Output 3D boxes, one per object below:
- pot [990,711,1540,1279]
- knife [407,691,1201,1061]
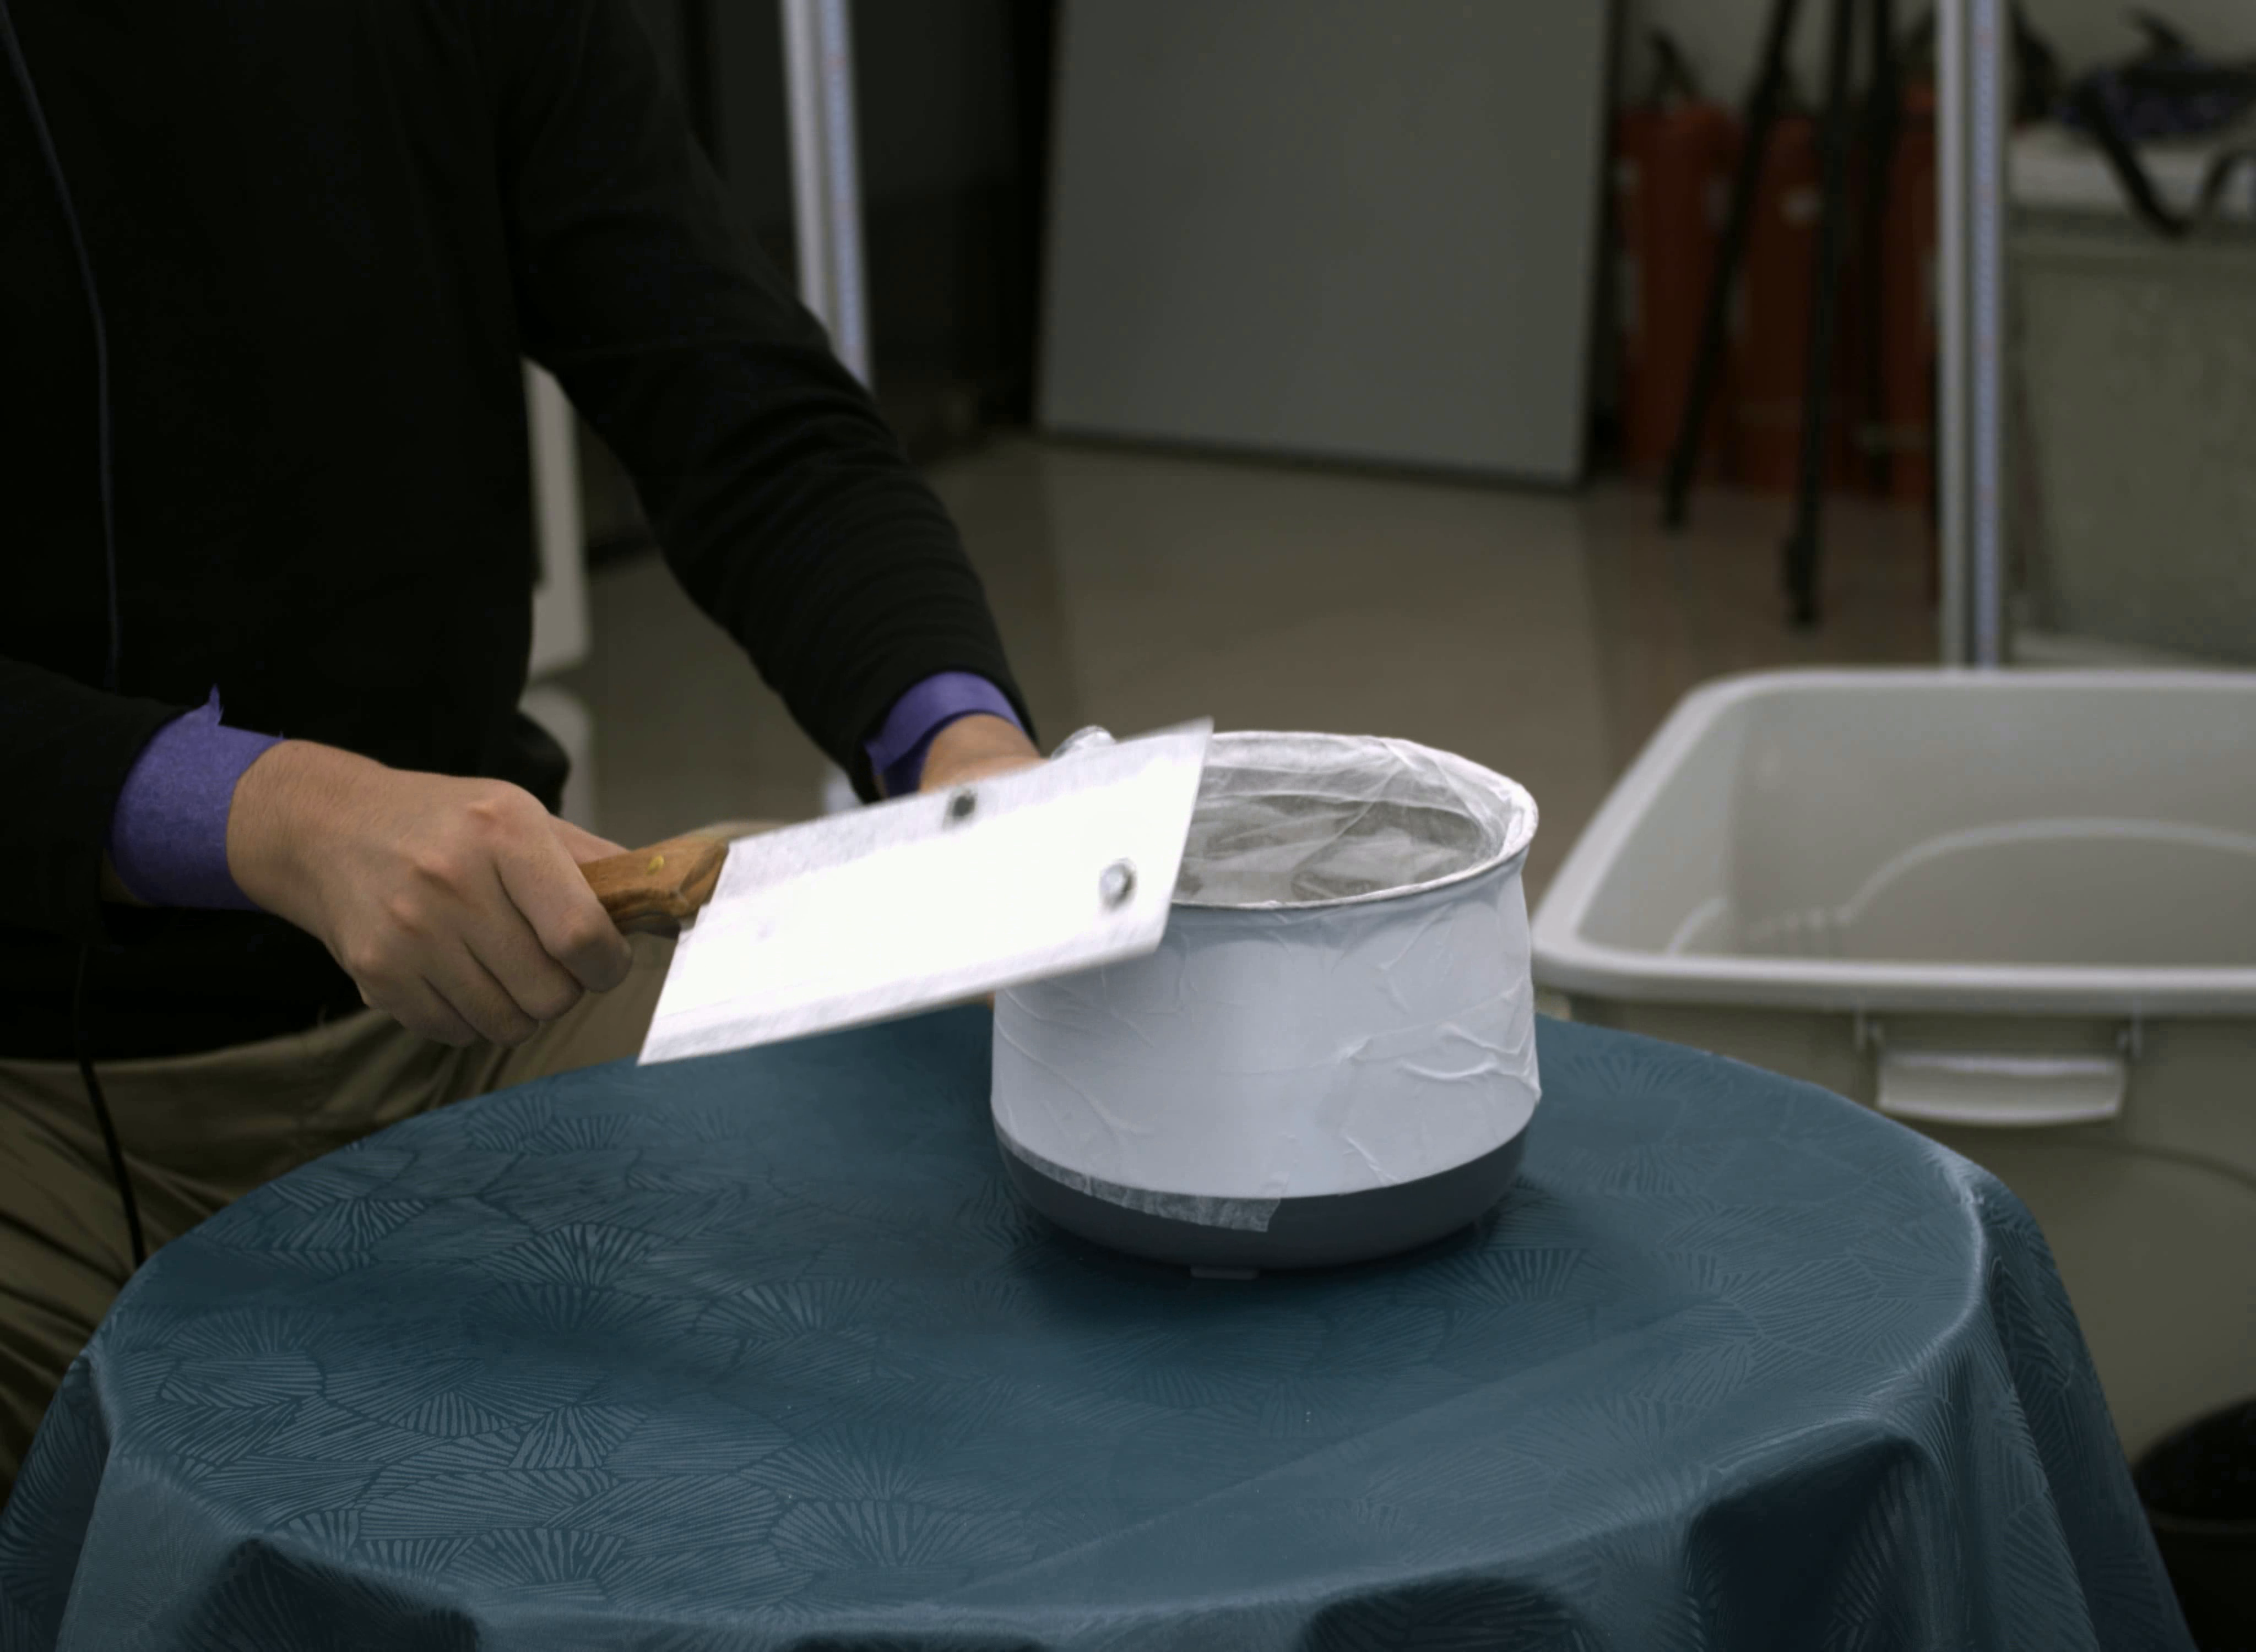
[{"bbox_3d":[0.027,0.047,1.745,0.175,0.138,0.236,-12,21,-32],"label":"pot"},{"bbox_3d":[-0.108,0.028,1.664,0.307,0.021,0.093,-17,40,31],"label":"knife"}]
